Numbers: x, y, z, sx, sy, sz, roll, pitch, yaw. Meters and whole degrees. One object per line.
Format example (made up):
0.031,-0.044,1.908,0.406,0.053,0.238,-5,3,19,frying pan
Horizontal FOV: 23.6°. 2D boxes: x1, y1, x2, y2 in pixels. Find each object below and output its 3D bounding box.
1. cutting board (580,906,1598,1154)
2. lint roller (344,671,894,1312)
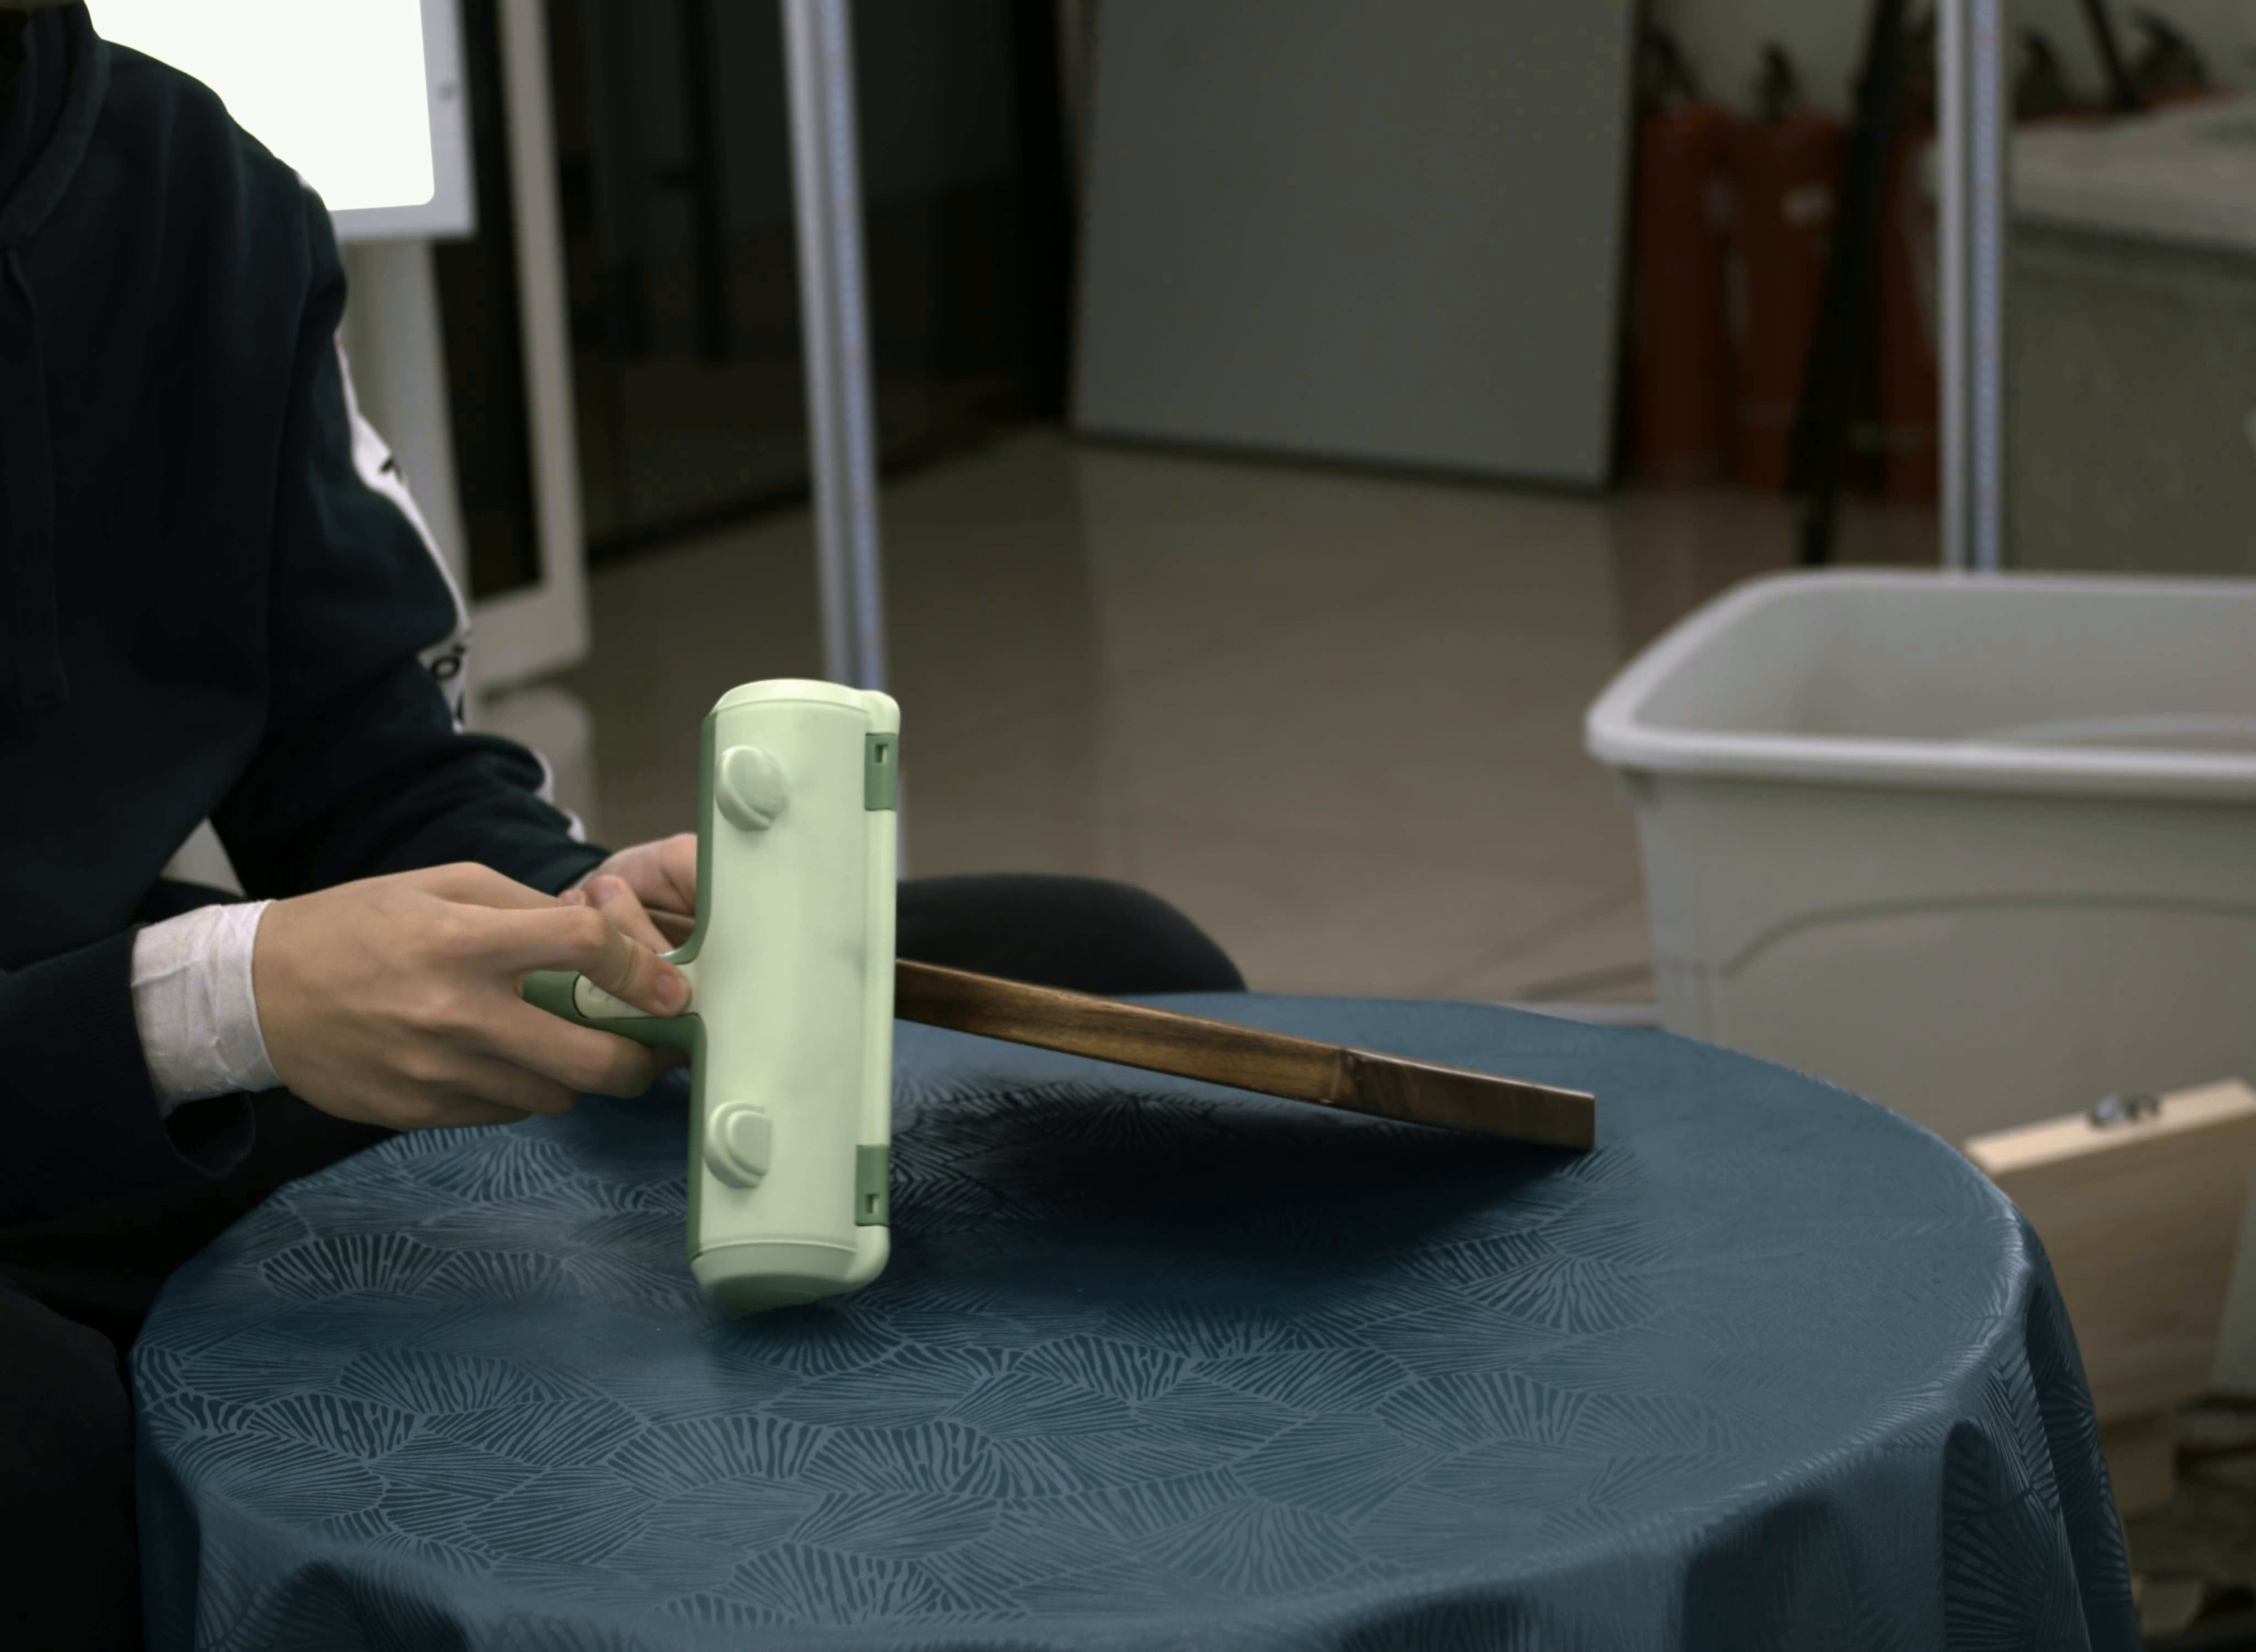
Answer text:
-0.035,0.063,1.791,0.354,0.023,0.197,9,-3,31,cutting board
-0.164,0.050,1.693,0.182,0.201,0.082,-2,-19,8,lint roller
